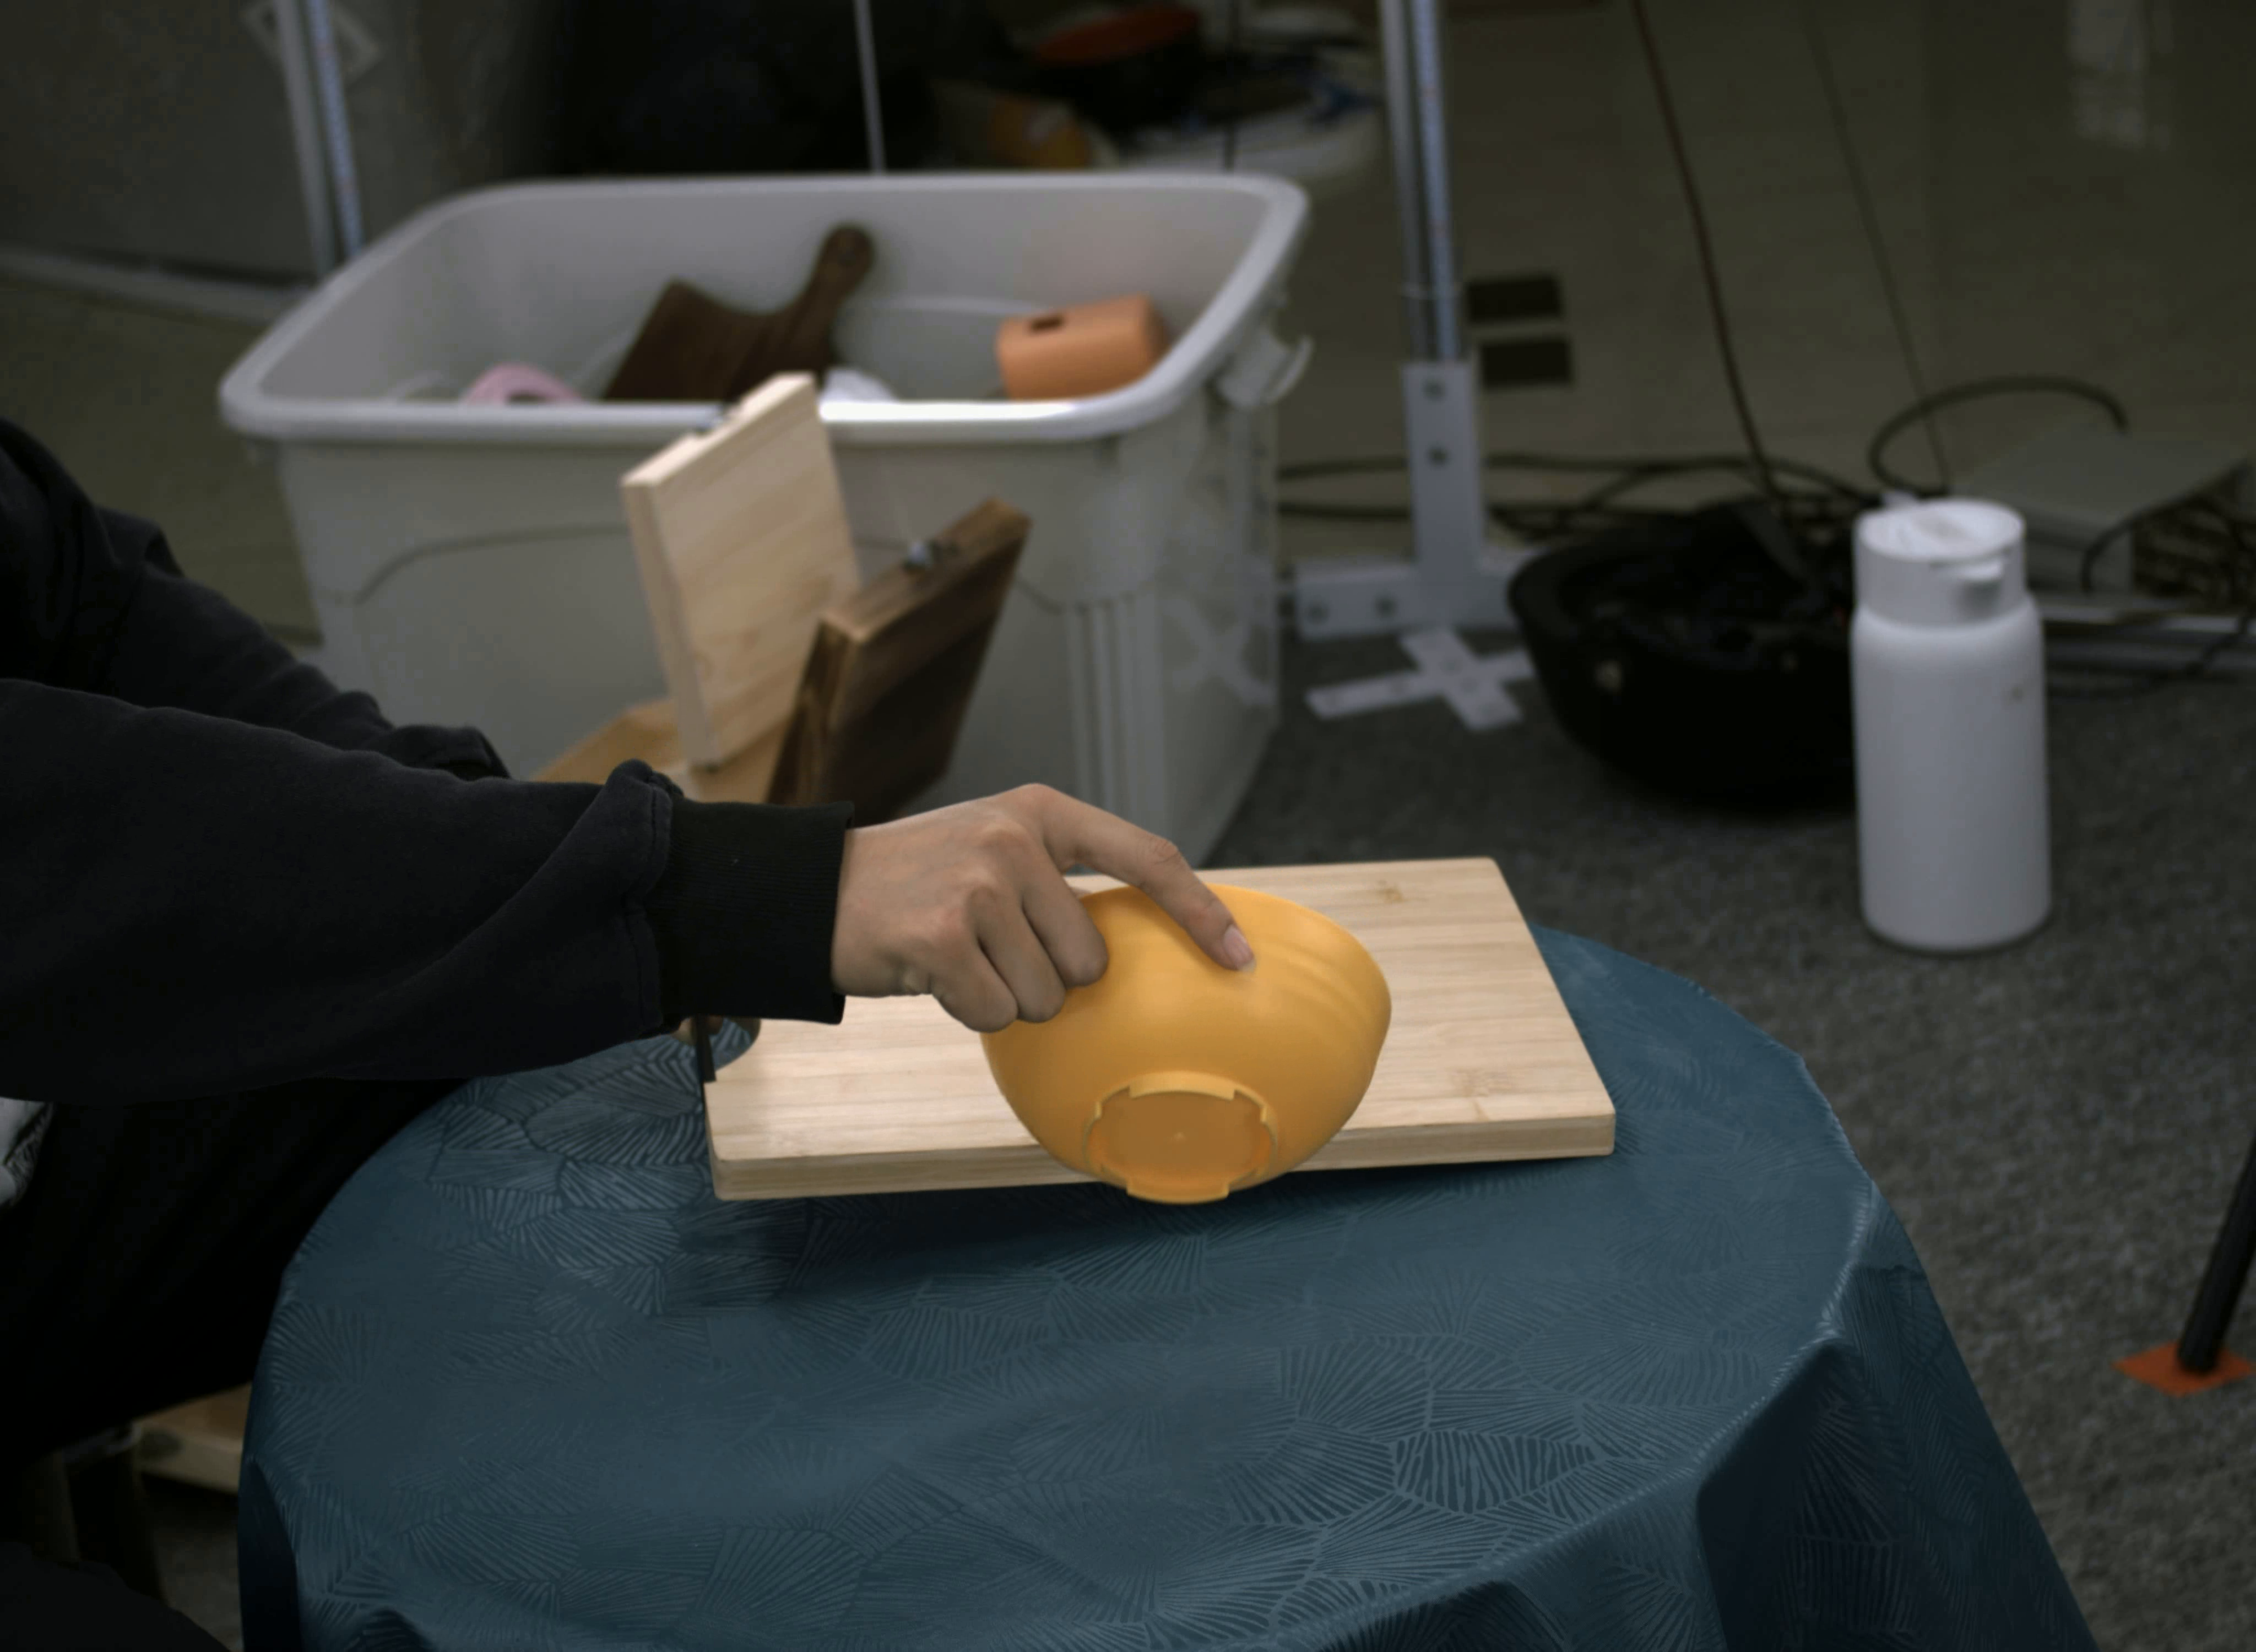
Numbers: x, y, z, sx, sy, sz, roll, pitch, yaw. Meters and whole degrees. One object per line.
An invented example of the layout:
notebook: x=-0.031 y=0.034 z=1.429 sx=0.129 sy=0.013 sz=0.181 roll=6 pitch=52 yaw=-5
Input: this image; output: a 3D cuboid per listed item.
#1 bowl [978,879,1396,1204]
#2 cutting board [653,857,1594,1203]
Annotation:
bowl: x=0.021 y=0.086 z=1.934 sx=0.145 sy=0.148 sz=0.059 roll=-4 pitch=51 yaw=4
cutting board: x=-0.006 y=0.077 z=2.221 sx=0.348 sy=0.024 sz=0.247 roll=-3 pitch=24 yaw=-8
